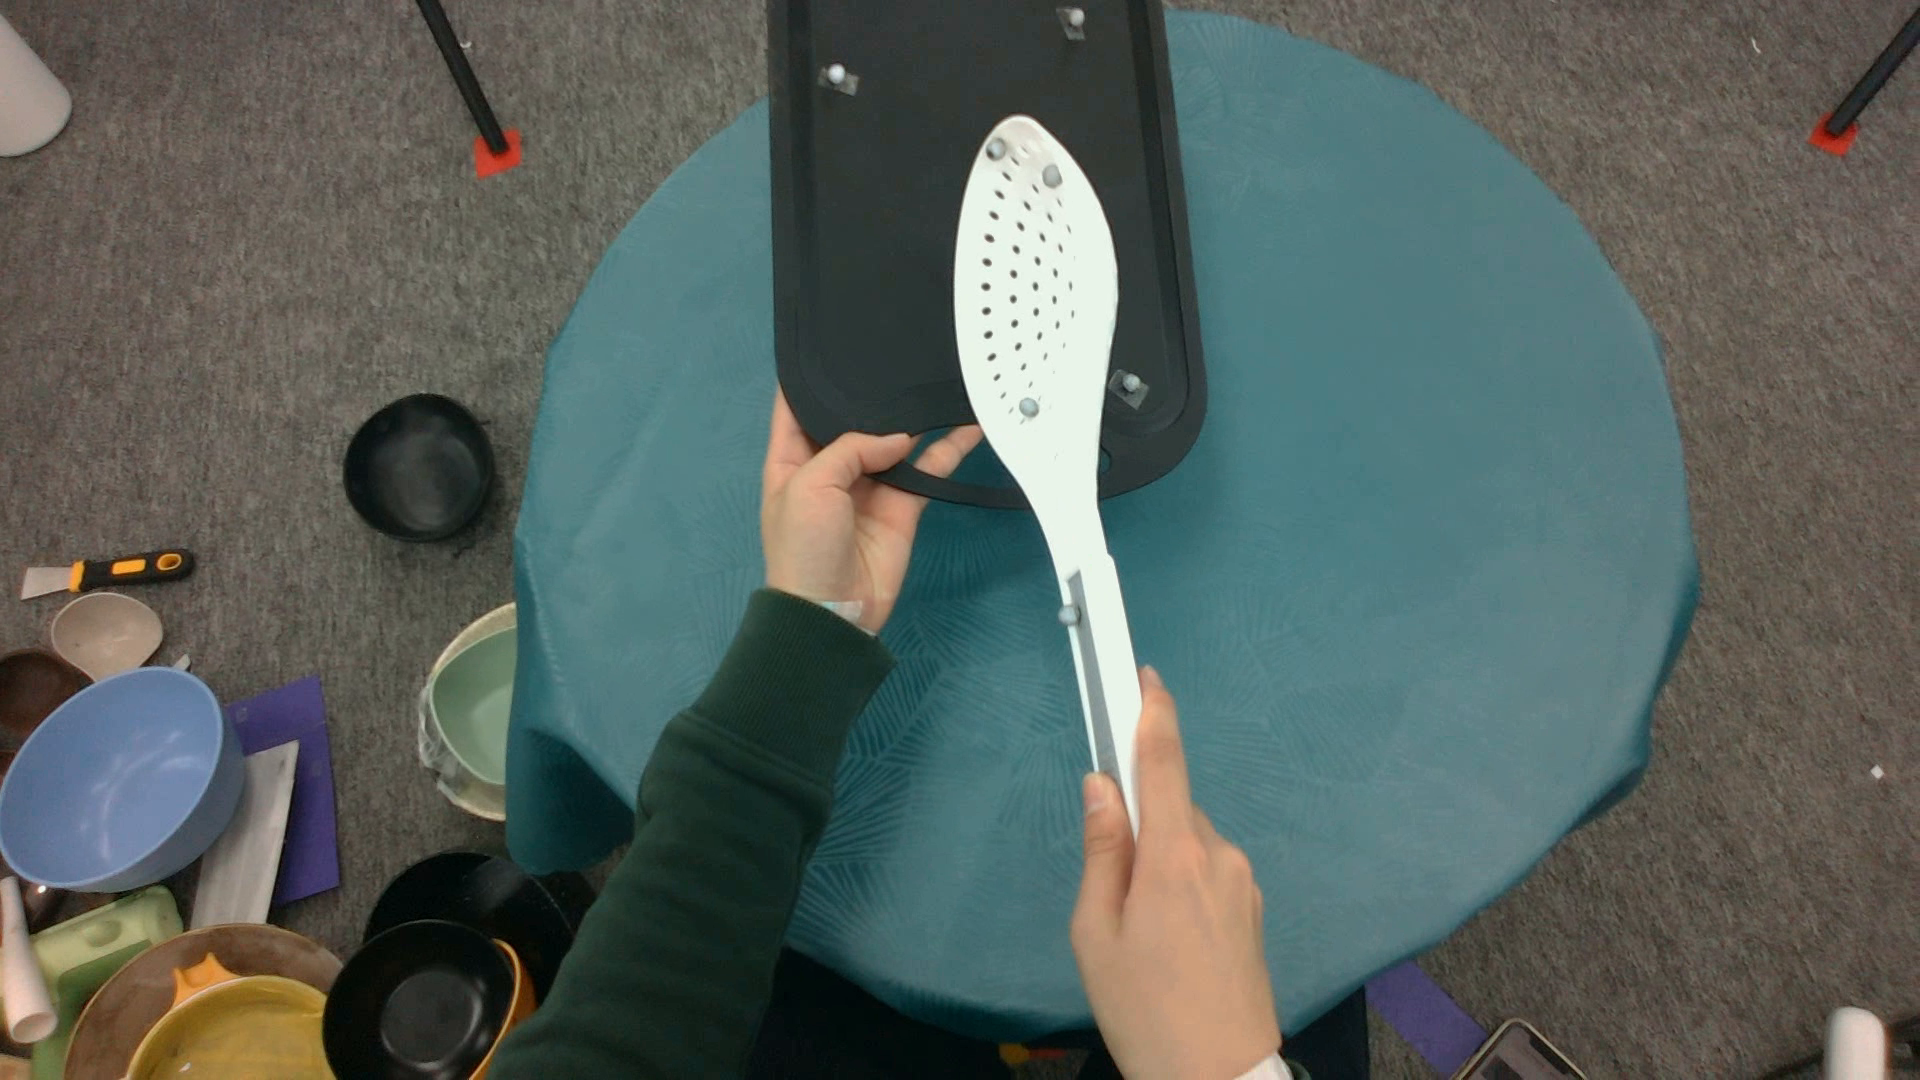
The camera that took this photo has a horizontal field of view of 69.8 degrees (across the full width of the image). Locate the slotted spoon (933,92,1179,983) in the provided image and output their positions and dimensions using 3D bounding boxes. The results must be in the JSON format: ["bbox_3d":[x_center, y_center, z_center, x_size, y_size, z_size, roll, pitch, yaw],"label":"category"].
[{"bbox_3d":[0.037,-0.010,0.533,0.046,0.135,0.350,0,71,-17],"label":"slotted spoon"}]

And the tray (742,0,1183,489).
[{"bbox_3d":[0.002,-0.179,0.657,0.211,0.010,0.326,2,72,-19],"label":"tray"}]
